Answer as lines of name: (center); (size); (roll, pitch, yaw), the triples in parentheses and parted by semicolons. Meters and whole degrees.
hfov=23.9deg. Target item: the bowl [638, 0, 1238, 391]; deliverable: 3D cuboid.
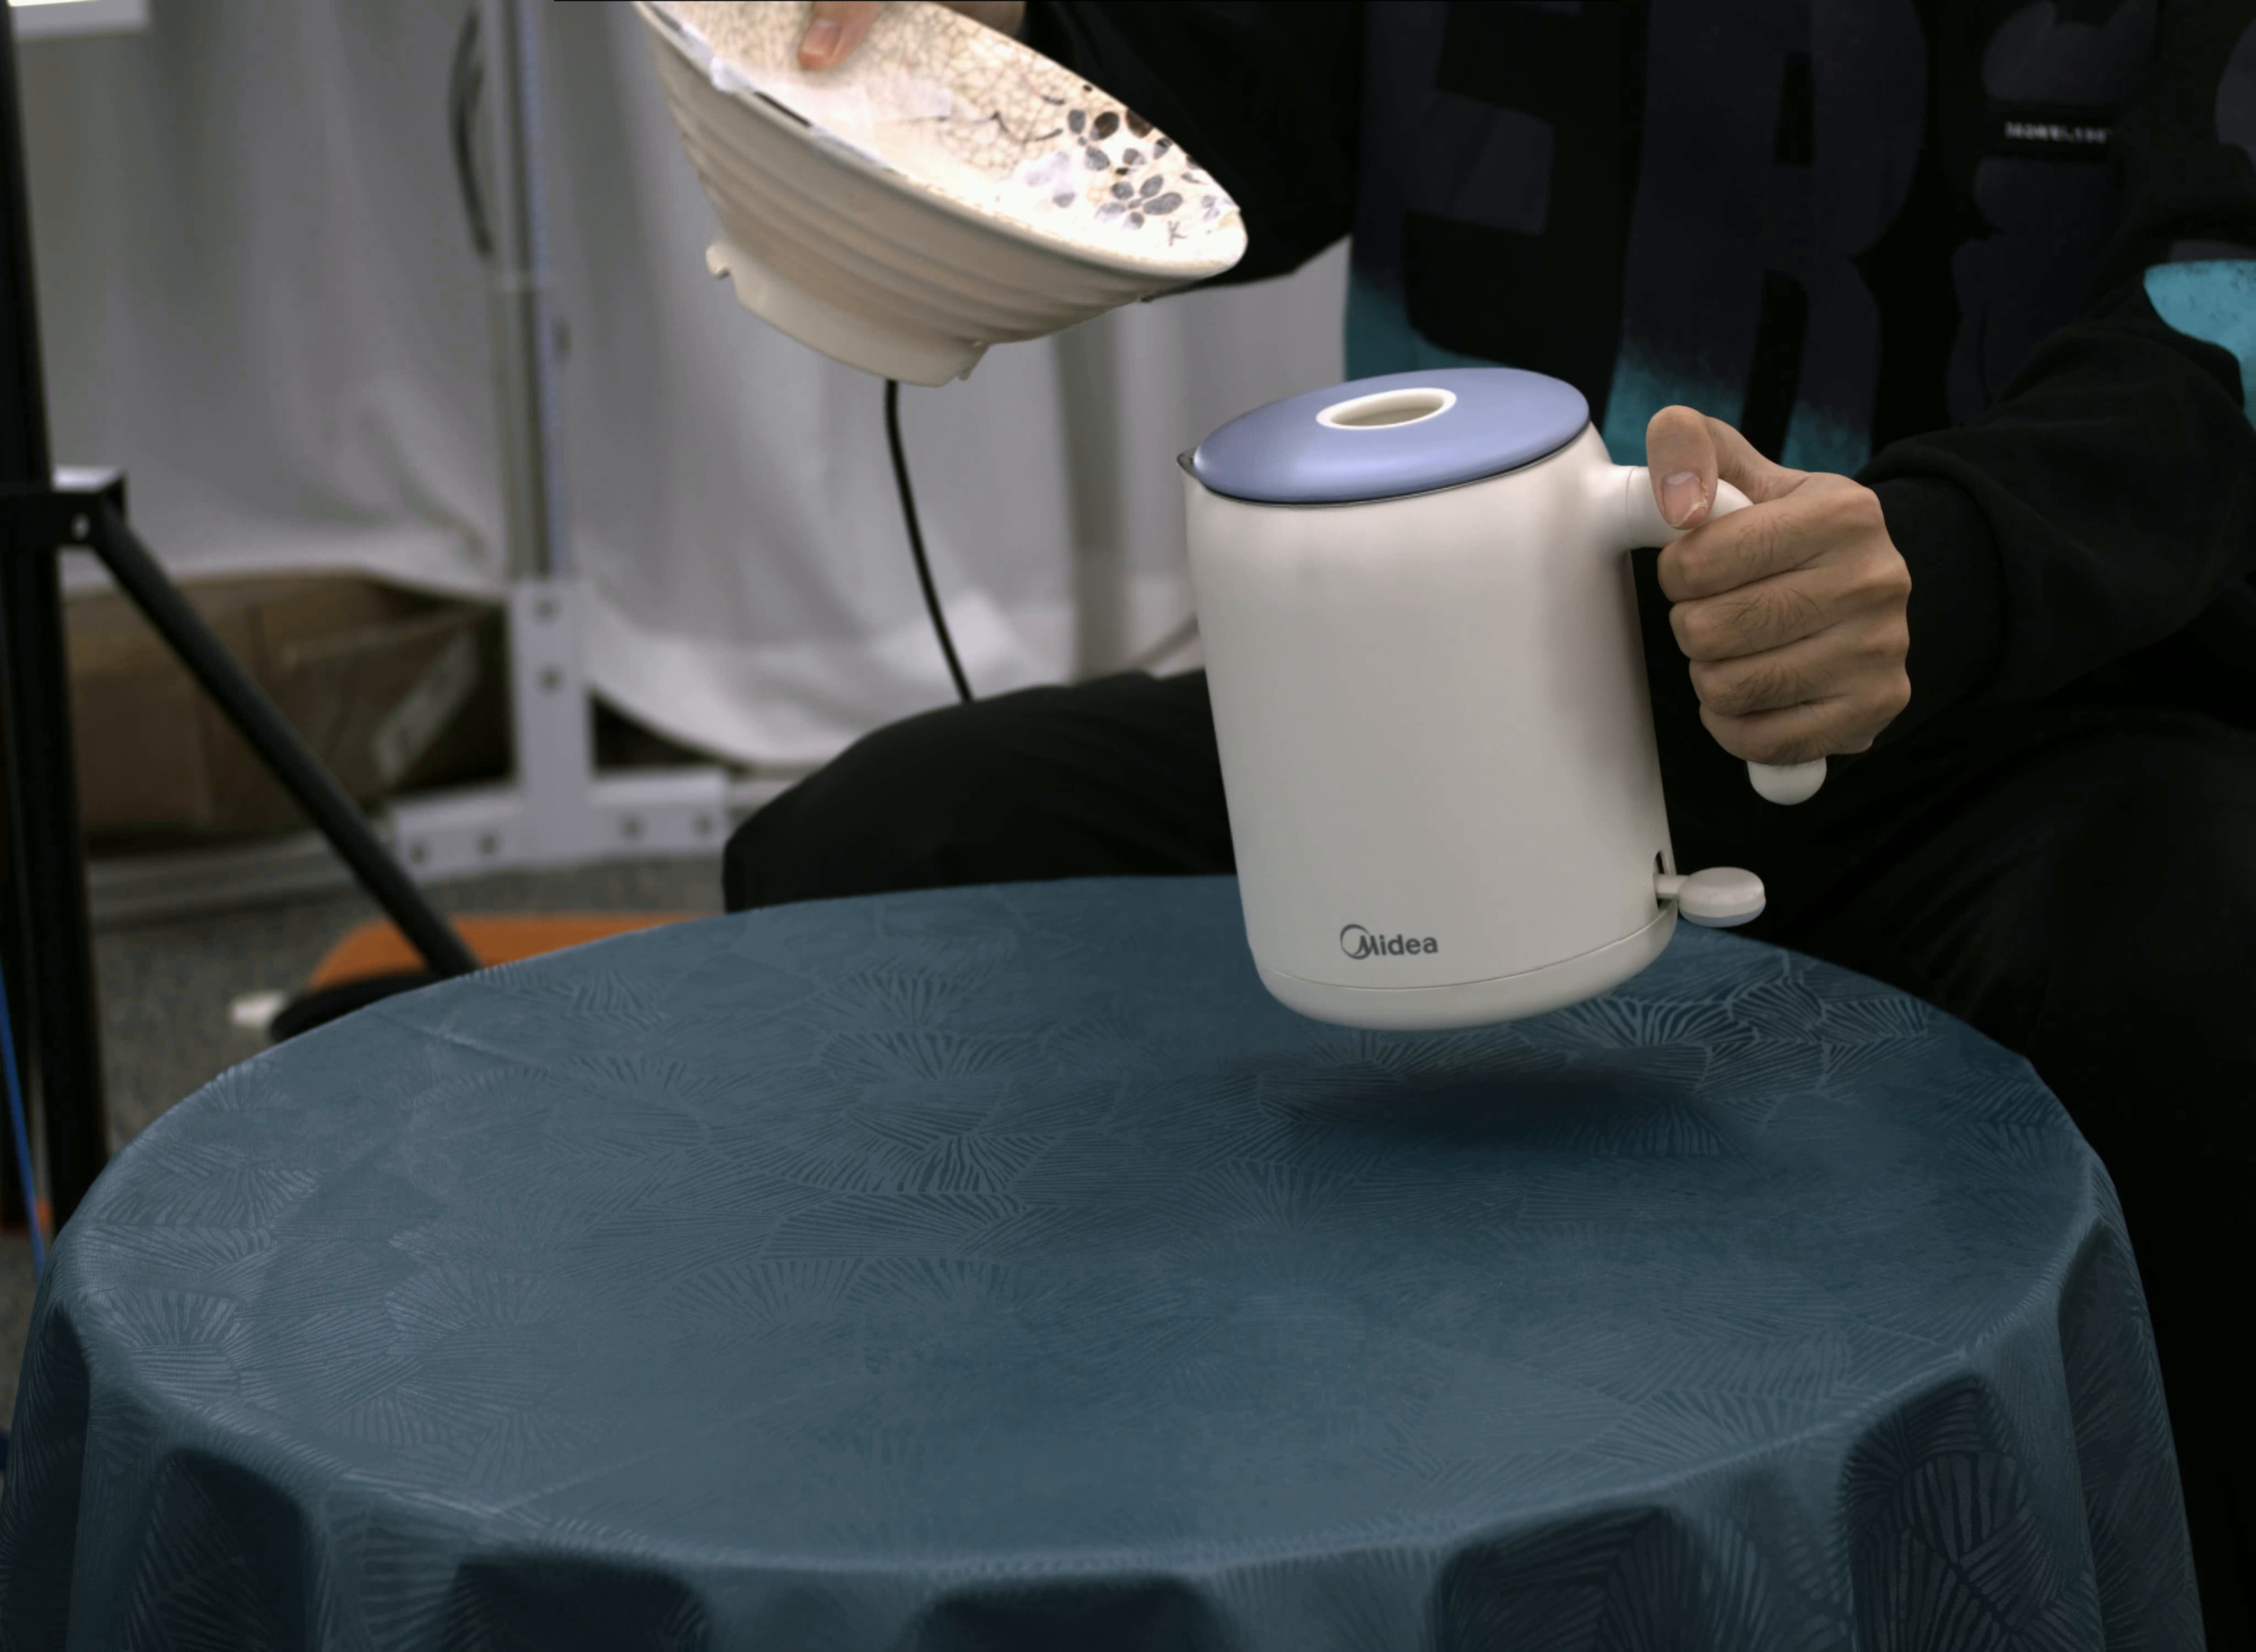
bowl: (-0.073, -0.184, 1.594); (0.202, 0.078, 0.205); (24, 18, -10)

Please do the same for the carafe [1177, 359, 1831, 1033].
carafe: (0.113, -0.039, 1.582); (0.193, 0.182, 0.131); (1, 21, 22)
